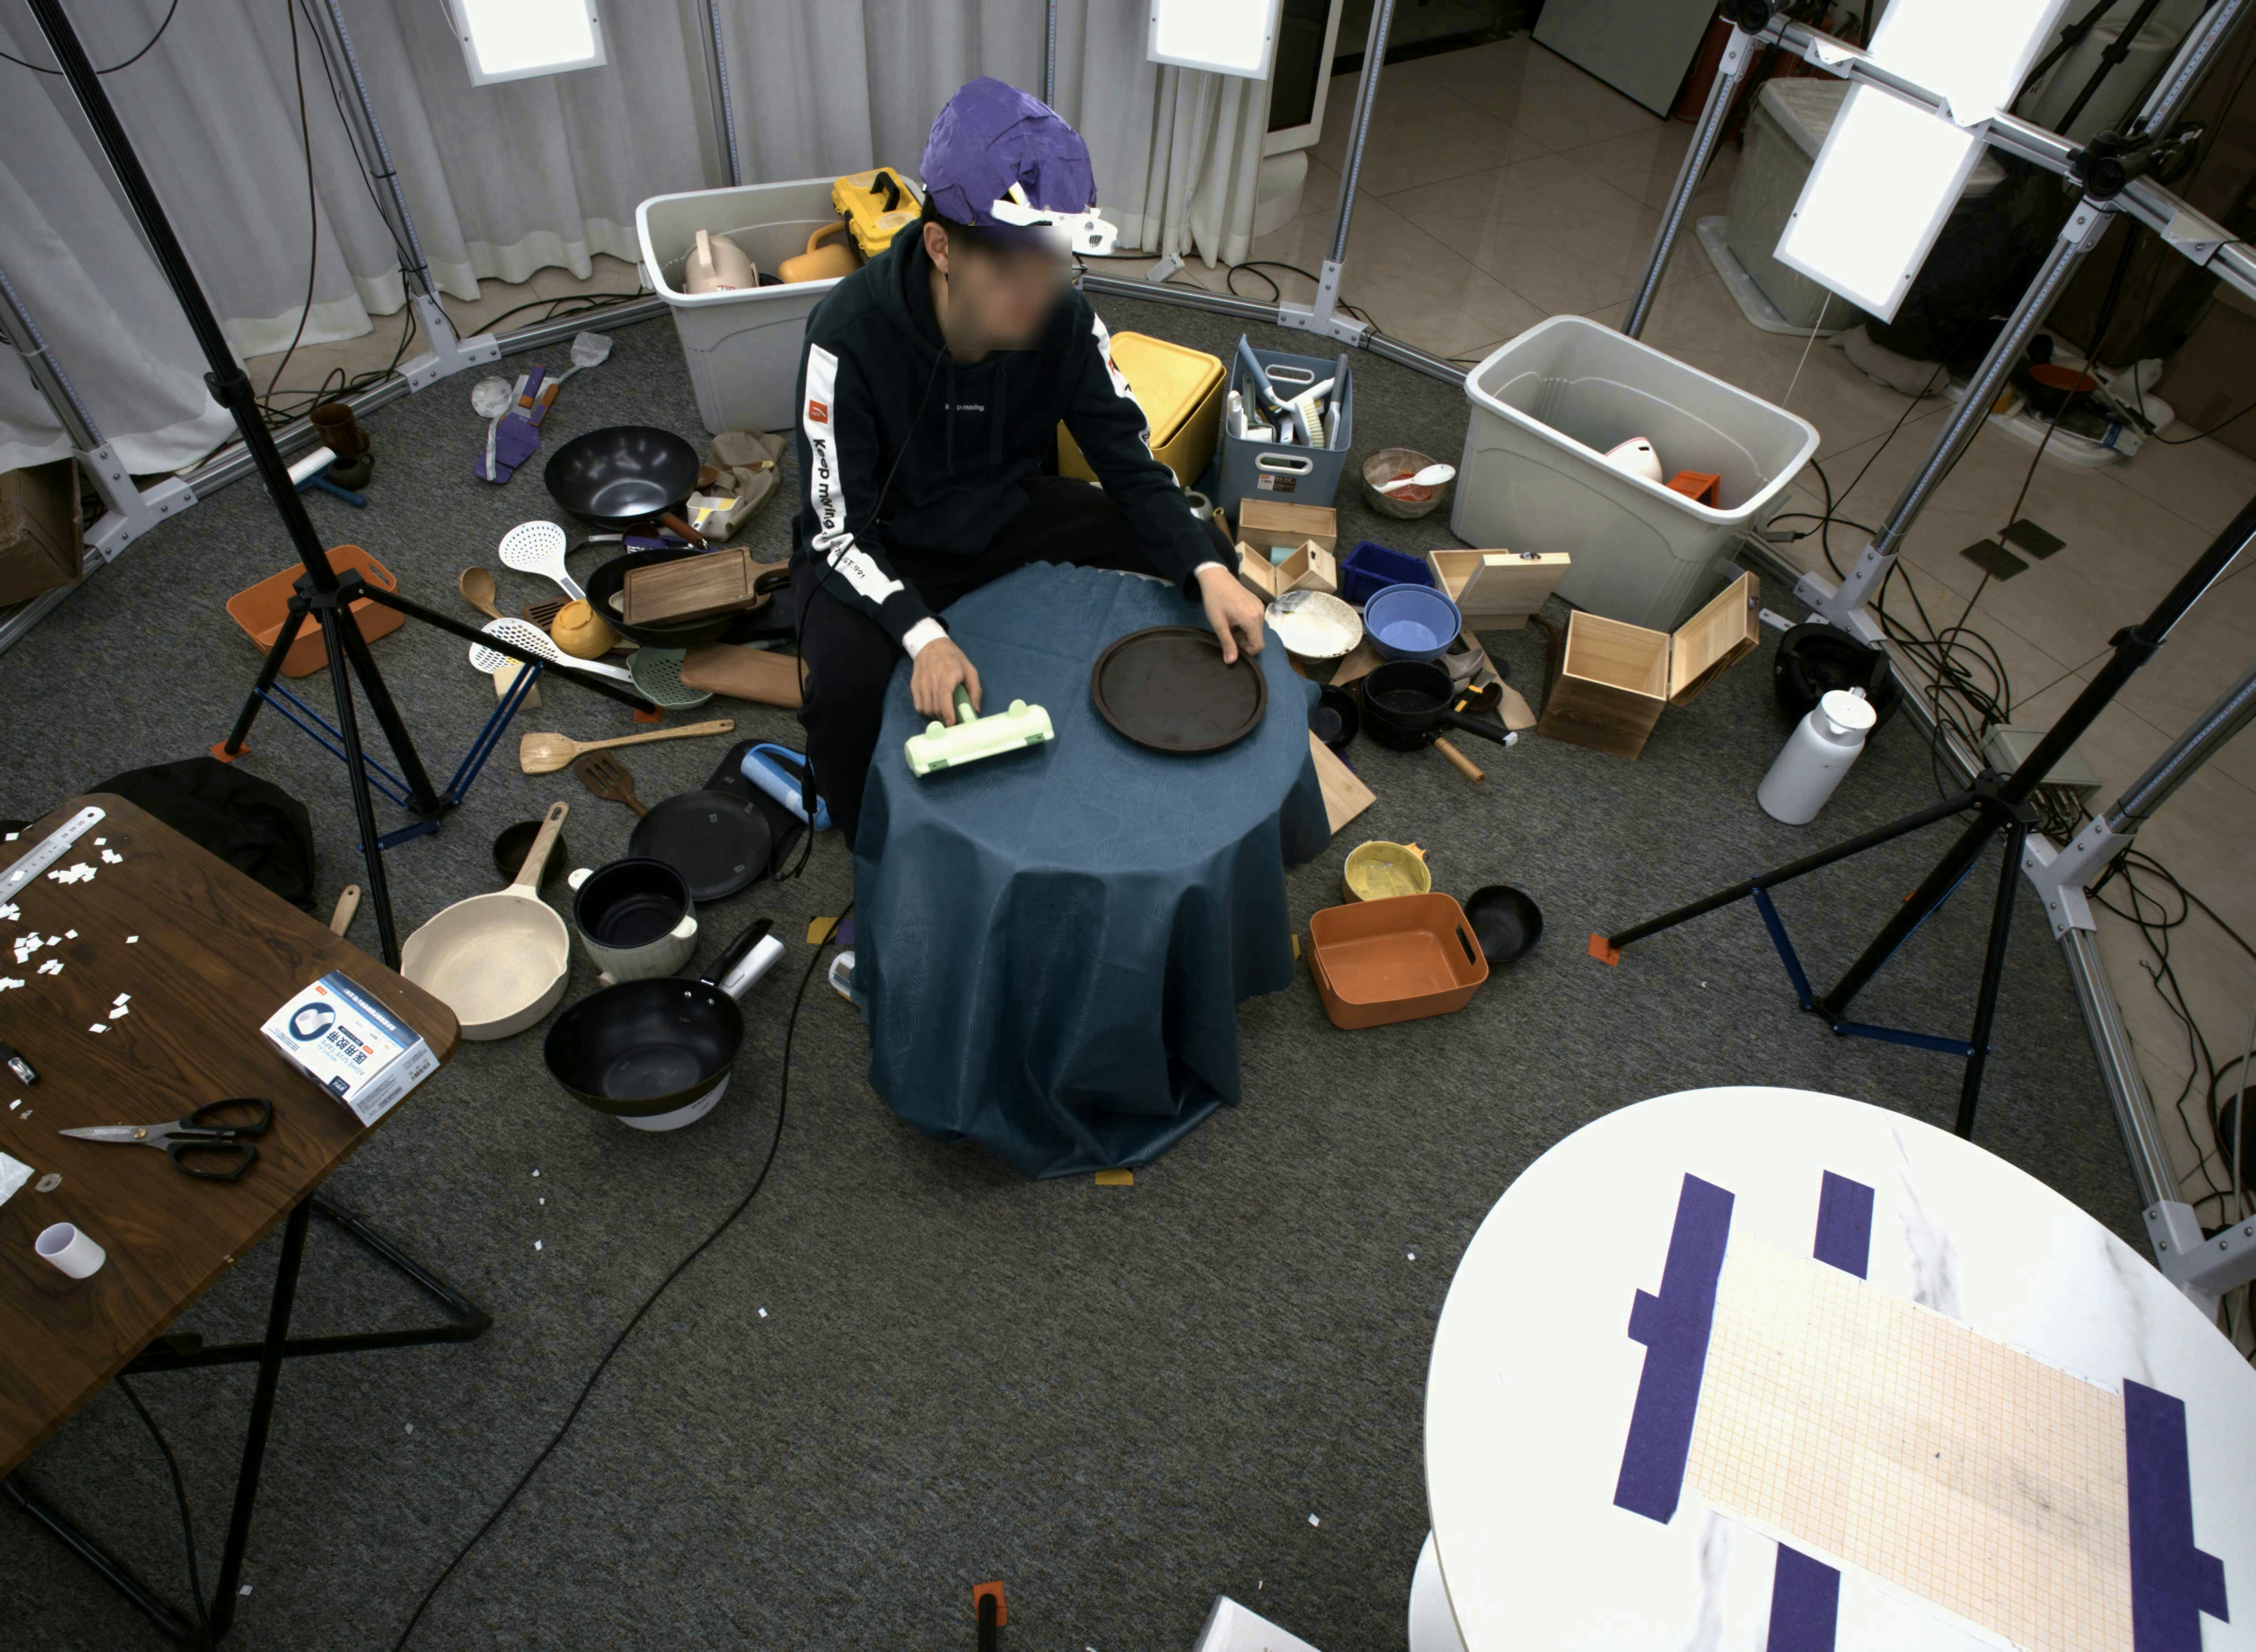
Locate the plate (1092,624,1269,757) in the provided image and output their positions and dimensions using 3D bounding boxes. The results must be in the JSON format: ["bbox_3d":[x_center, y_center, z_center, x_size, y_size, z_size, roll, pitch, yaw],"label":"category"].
[{"bbox_3d":[0.074,-0.193,1.824,0.254,0.028,0.261,1,50,-1],"label":"plate"}]

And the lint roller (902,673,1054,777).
[{"bbox_3d":[-0.221,-0.161,1.740,0.199,0.080,0.187,-17,56,-17],"label":"lint roller"}]
